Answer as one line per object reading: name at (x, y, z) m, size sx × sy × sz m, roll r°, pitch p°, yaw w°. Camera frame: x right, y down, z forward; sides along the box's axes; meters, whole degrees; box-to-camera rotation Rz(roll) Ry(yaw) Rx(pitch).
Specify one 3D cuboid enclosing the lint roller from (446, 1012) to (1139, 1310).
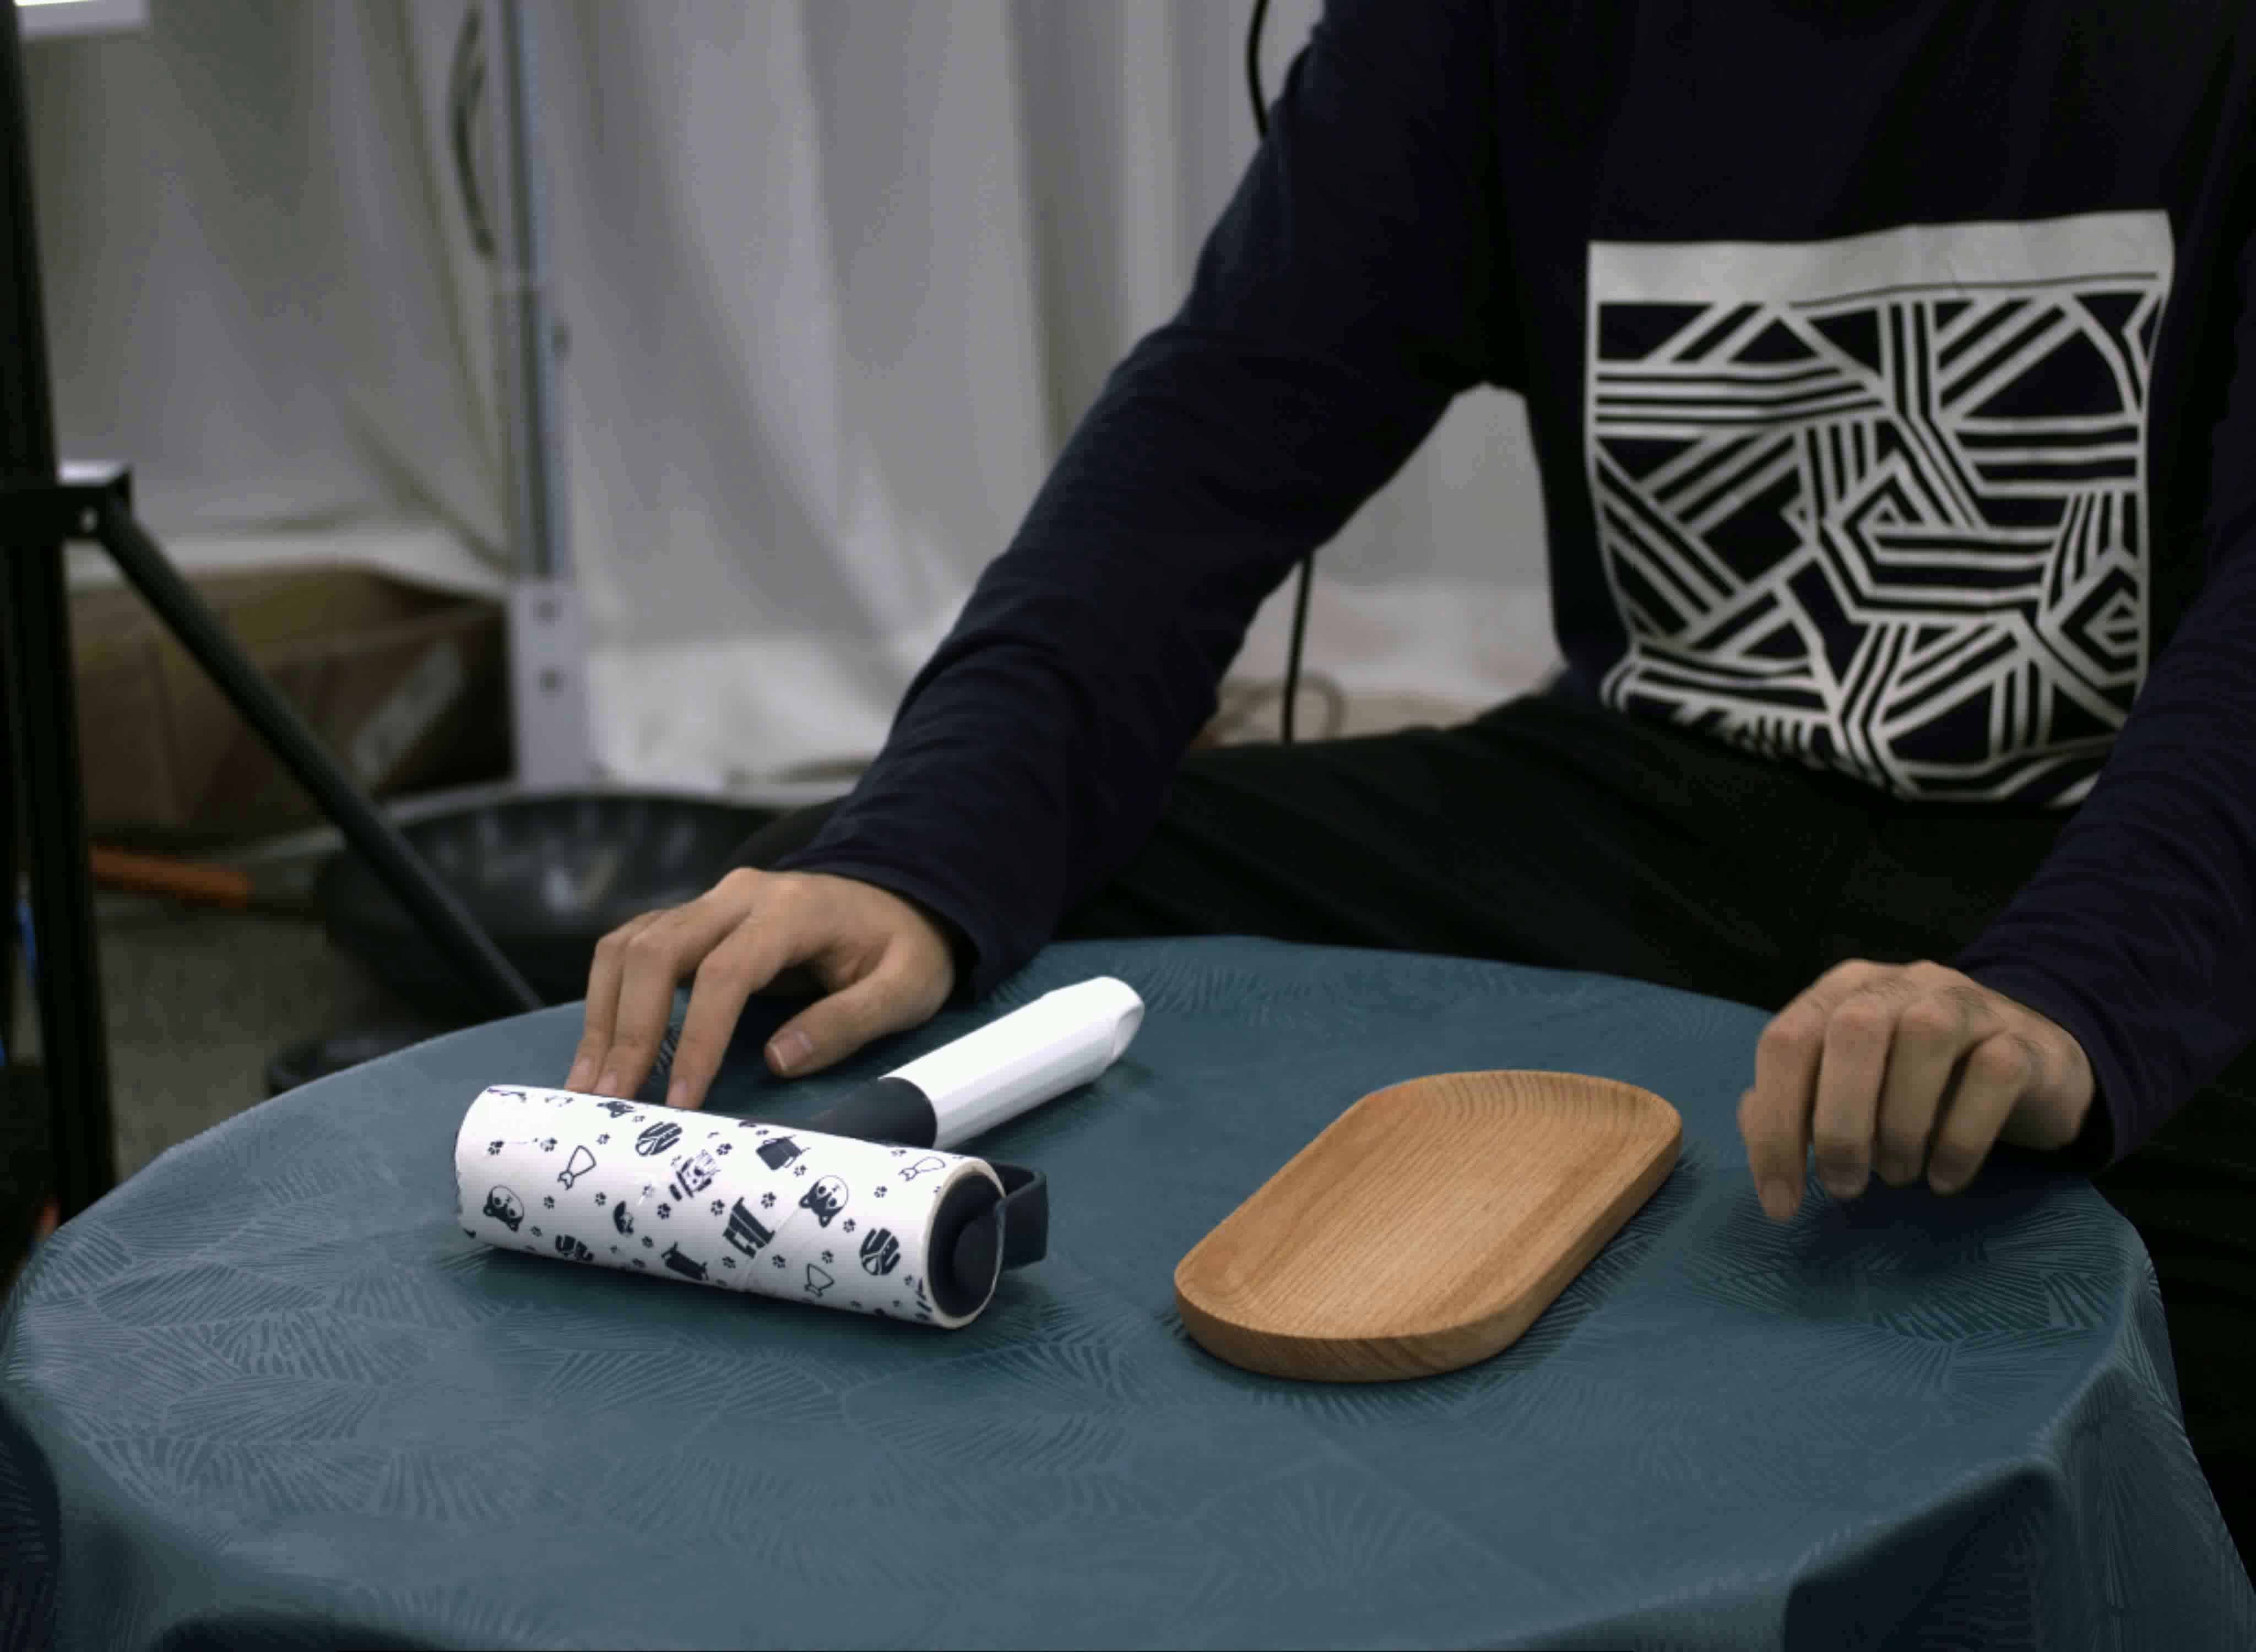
lint roller at (-0.065, 0.084, 1.584) m, size 0.179 × 0.050 × 0.242 m, roll 6°, pitch 14°, yaw 29°

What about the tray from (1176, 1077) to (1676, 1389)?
tray at (0.088, 0.113, 1.502) m, size 0.103 × 0.020 × 0.228 m, roll 2°, pitch 17°, yaw 22°
